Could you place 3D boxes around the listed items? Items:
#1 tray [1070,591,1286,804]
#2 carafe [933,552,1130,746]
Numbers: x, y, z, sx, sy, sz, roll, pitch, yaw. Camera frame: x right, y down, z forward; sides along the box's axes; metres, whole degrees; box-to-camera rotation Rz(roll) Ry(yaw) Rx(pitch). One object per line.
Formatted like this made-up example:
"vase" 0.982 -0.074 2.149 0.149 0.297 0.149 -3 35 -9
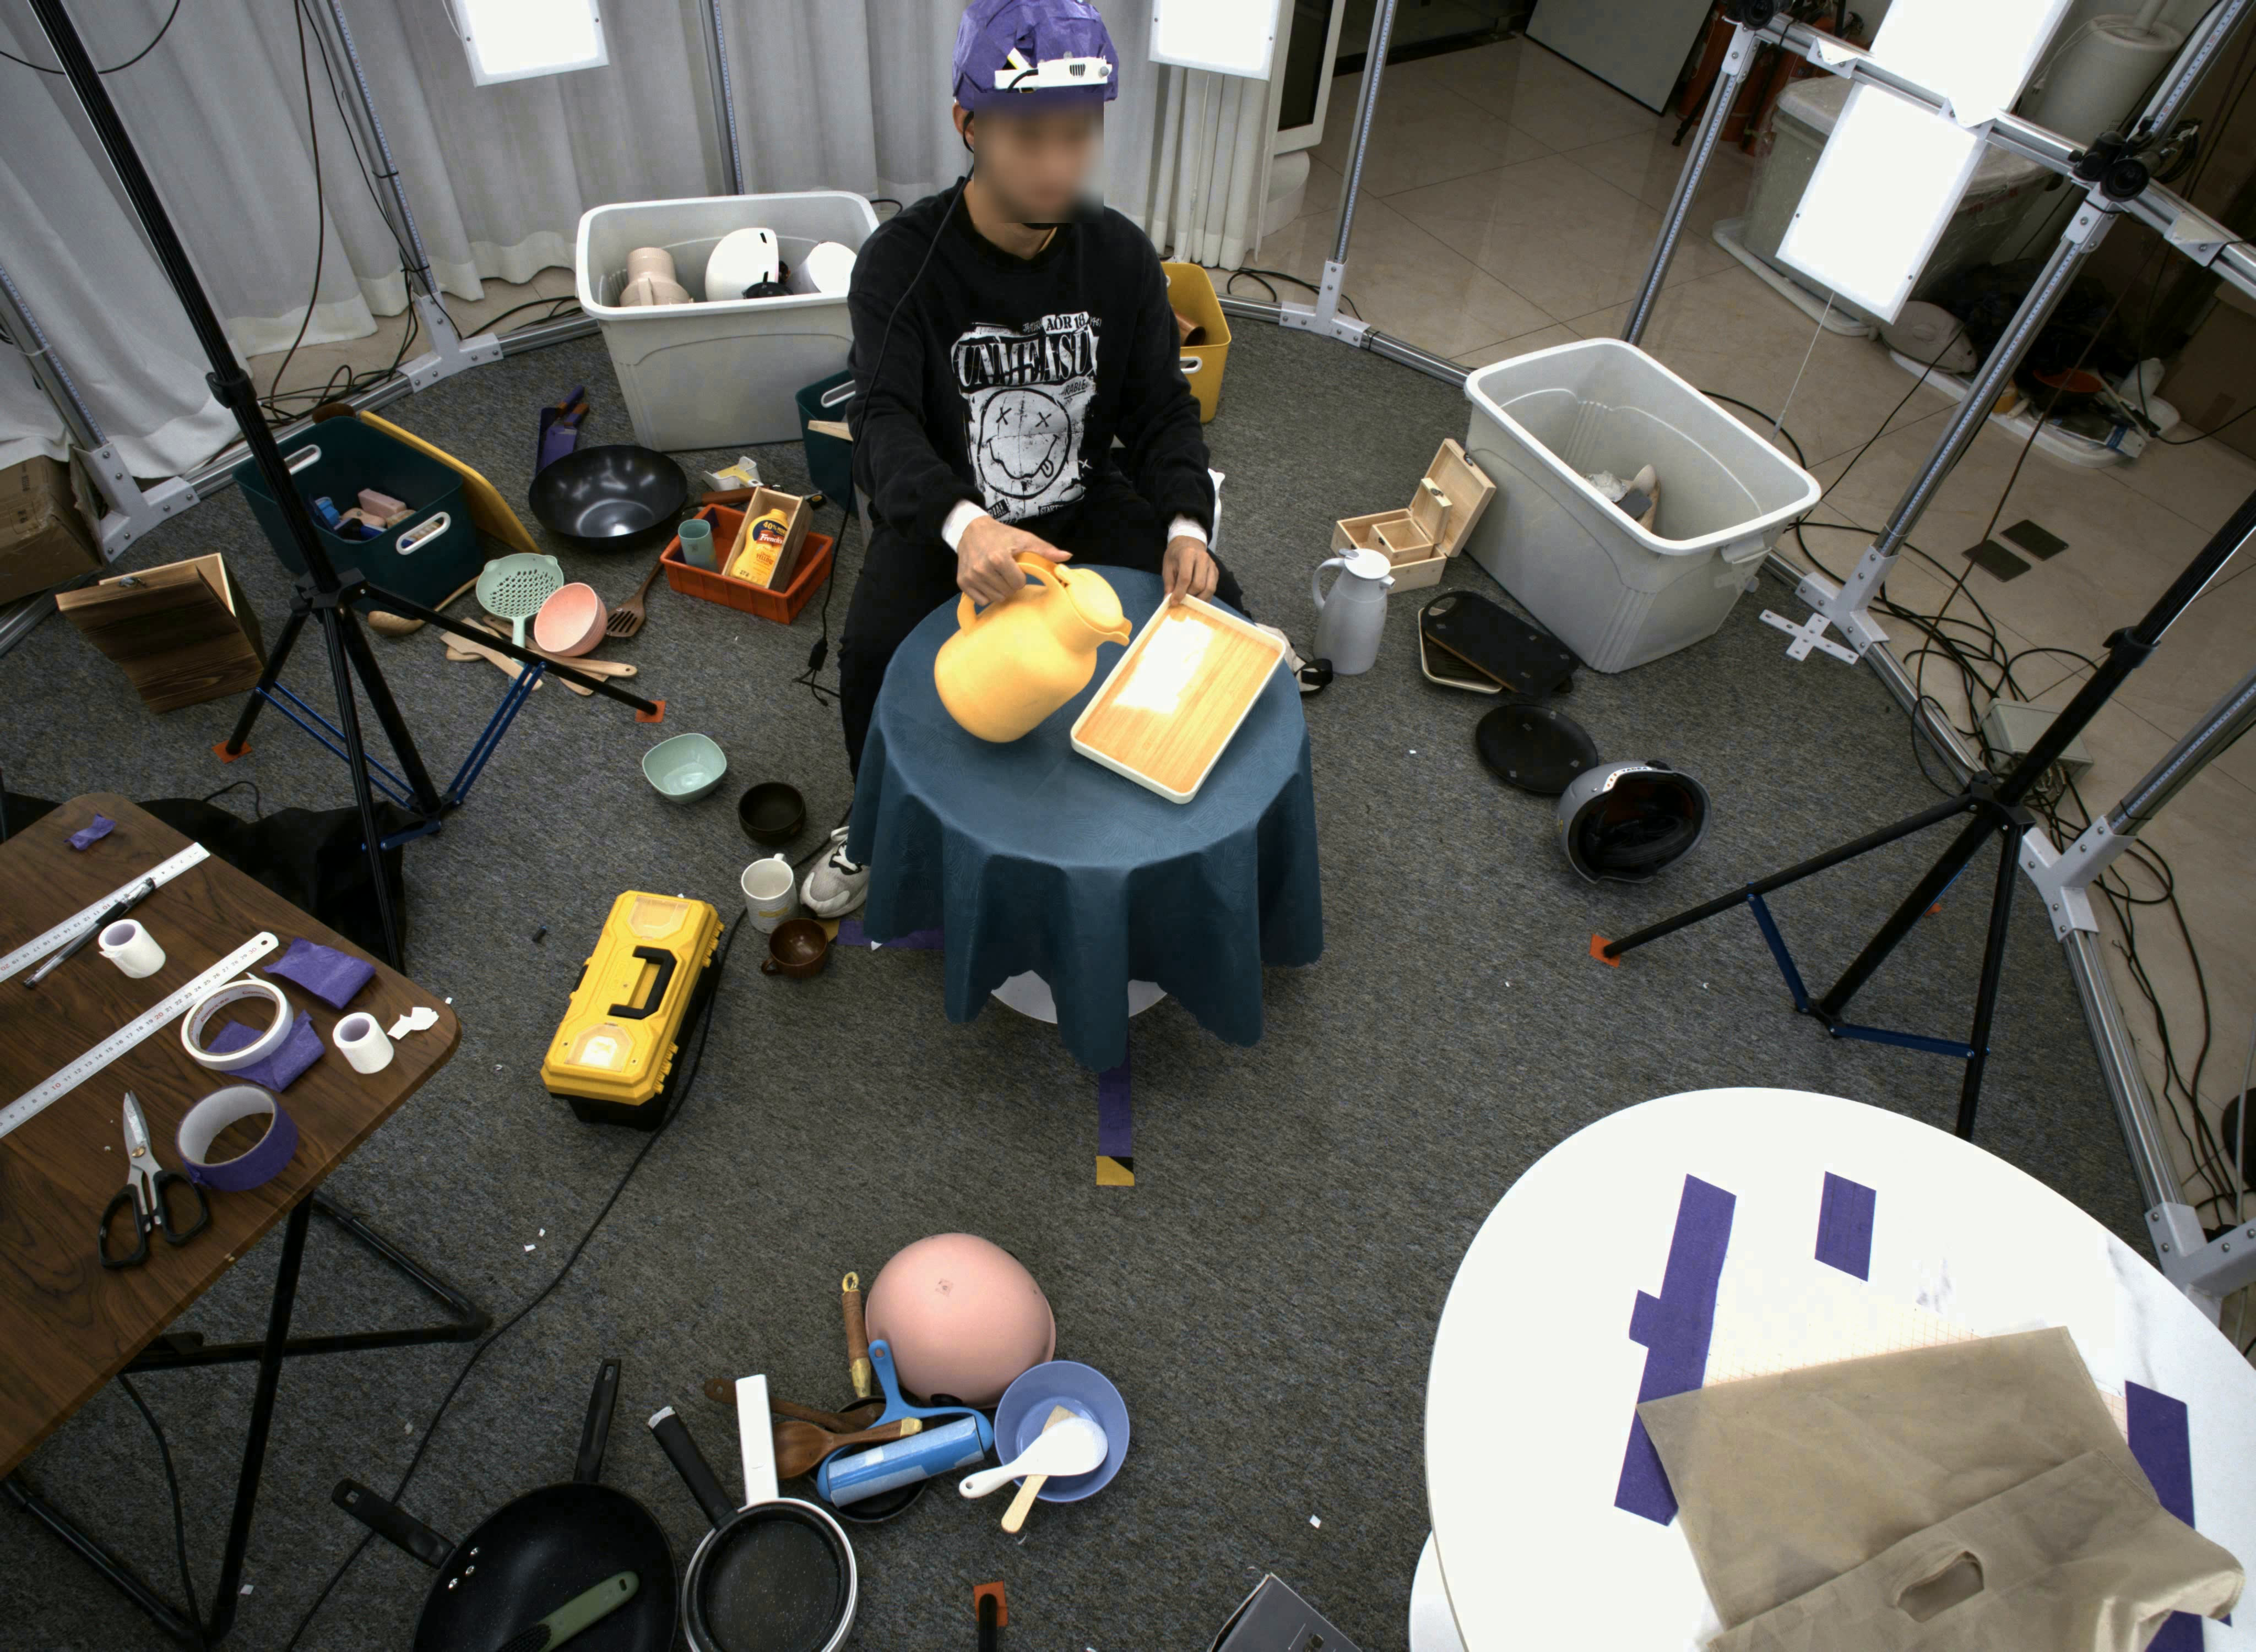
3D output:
"tray" 0.071 -0.184 1.775 0.193 0.027 0.304 28 63 14
"carafe" -0.138 -0.238 1.661 0.199 0.258 0.167 38 36 -24
